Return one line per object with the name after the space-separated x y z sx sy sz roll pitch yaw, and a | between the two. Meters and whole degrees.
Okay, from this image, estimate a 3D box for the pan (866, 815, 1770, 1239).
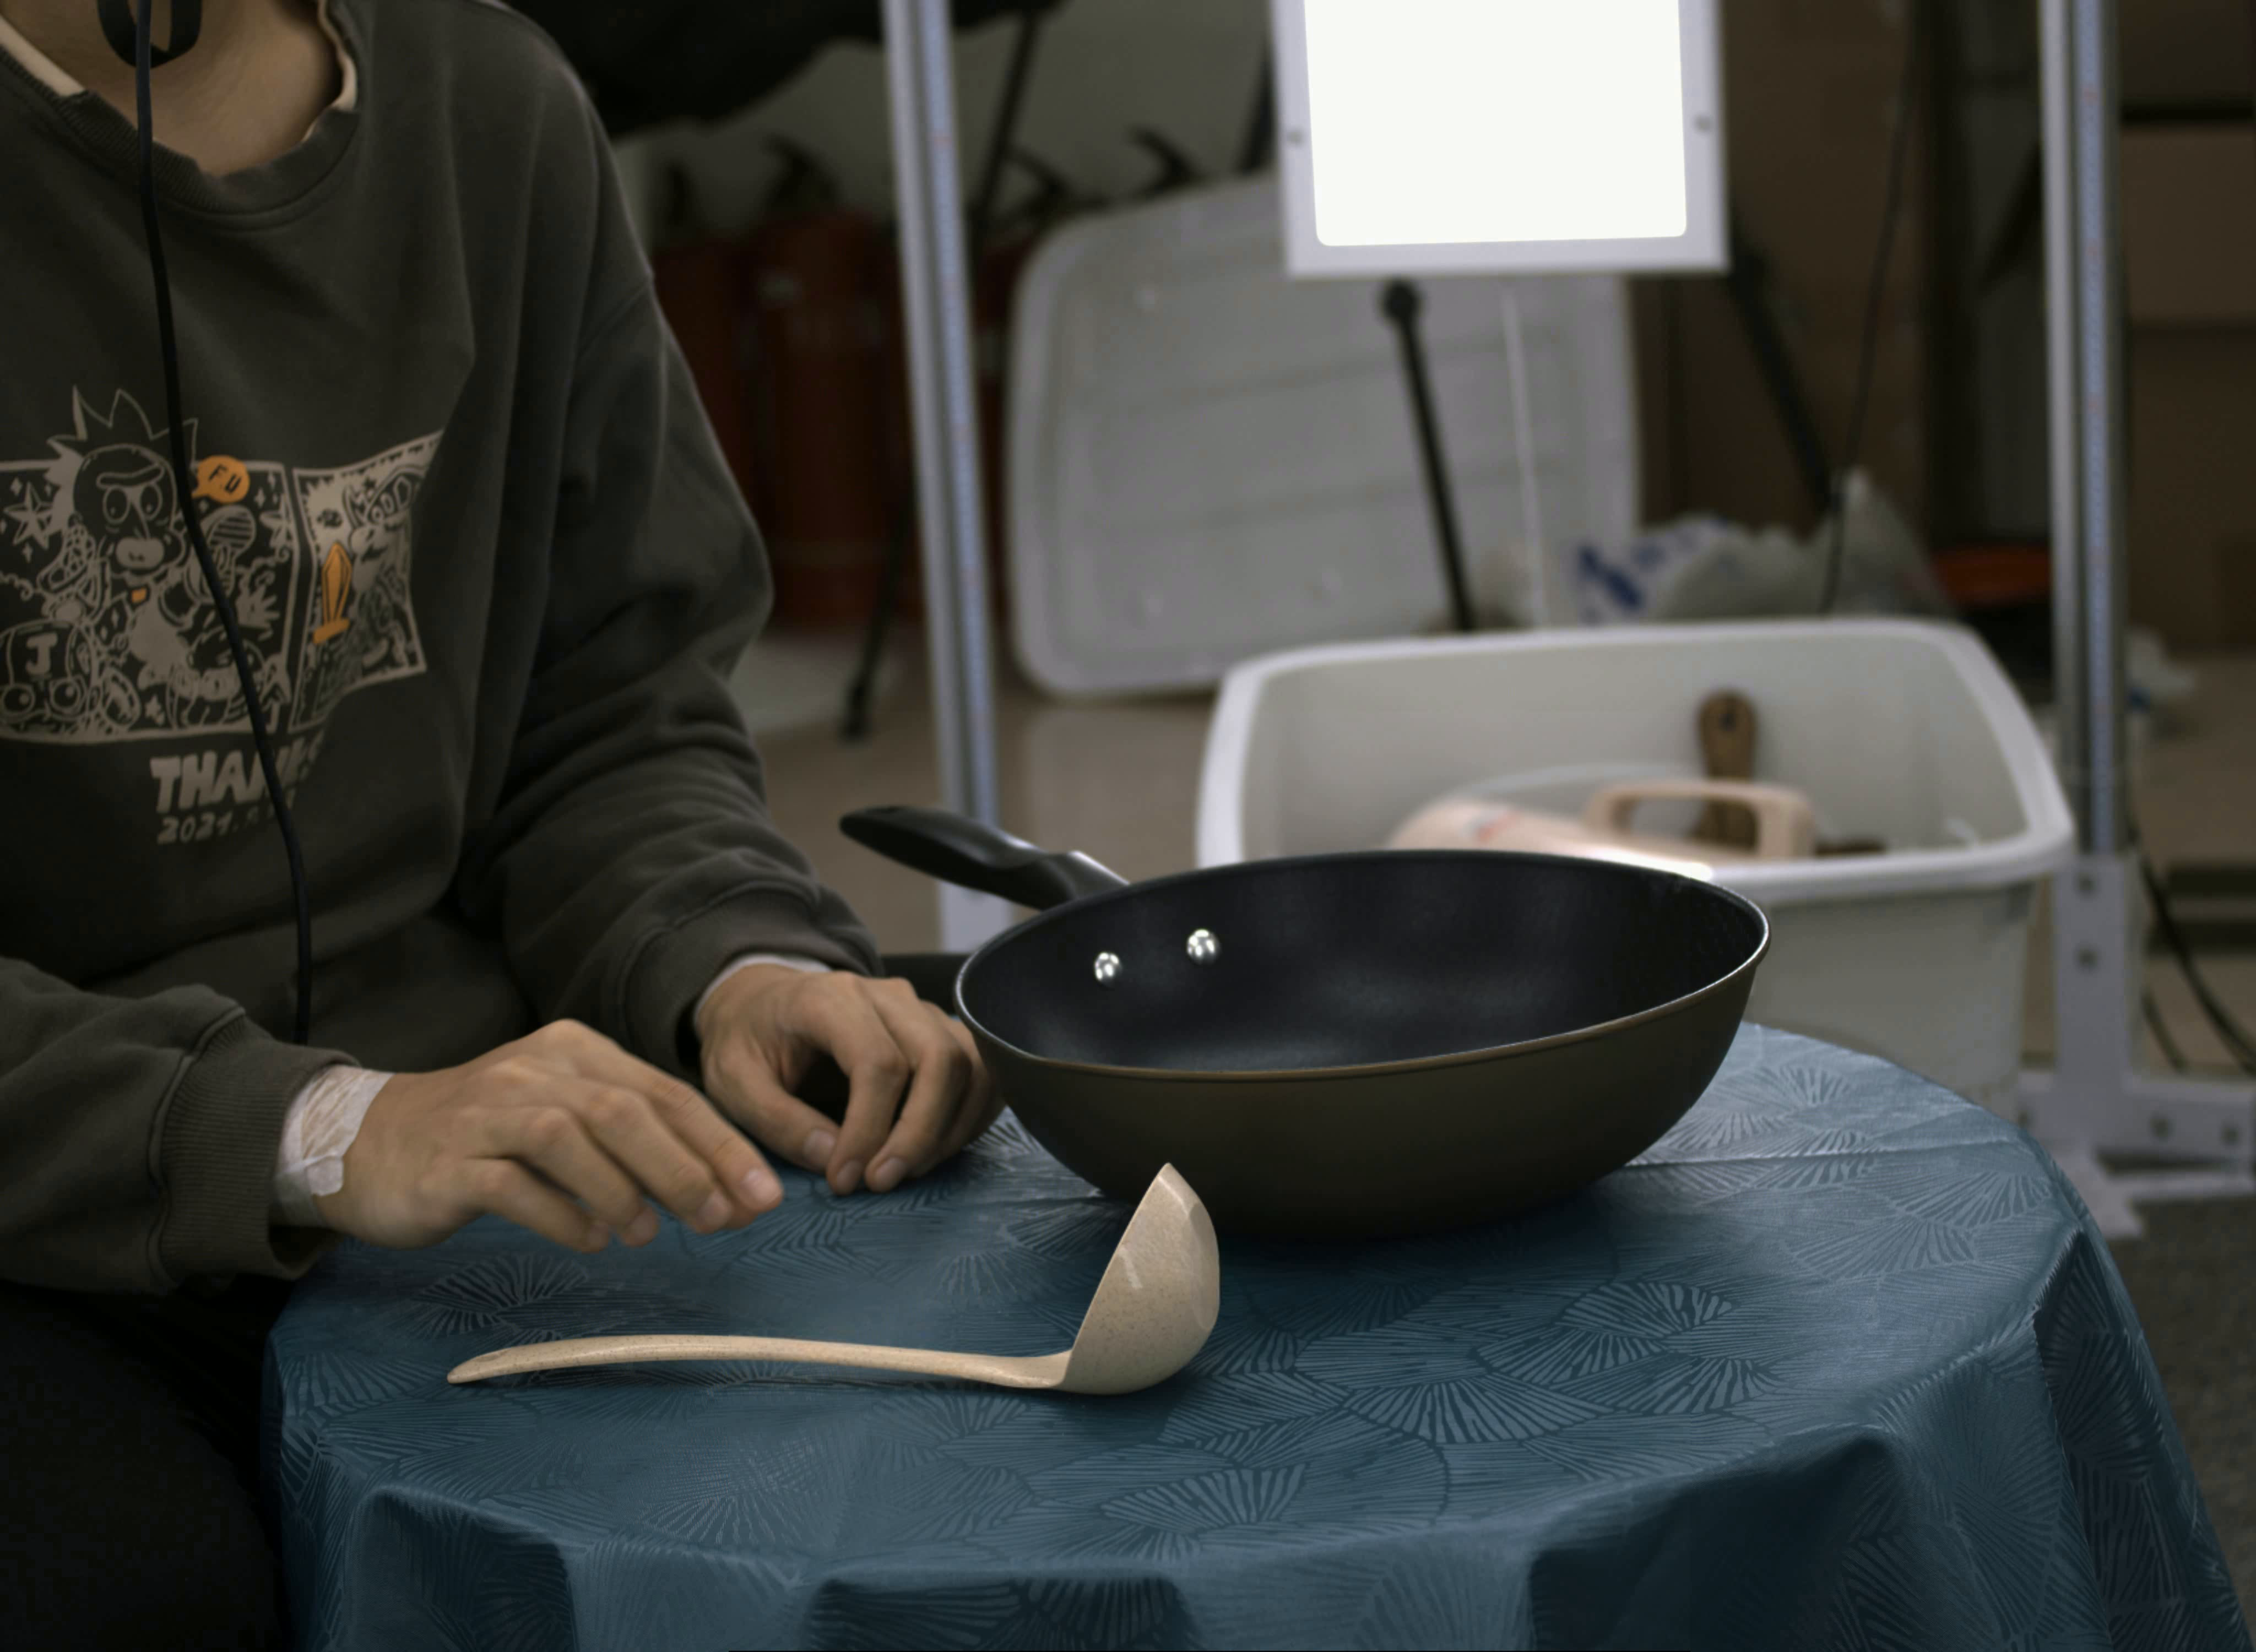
0.030 0.066 1.956 0.281 0.087 0.472 -14 15 -31 | pan

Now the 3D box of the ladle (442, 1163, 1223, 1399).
-0.097 0.141 1.721 0.256 0.073 0.071 0 20 14 | ladle
